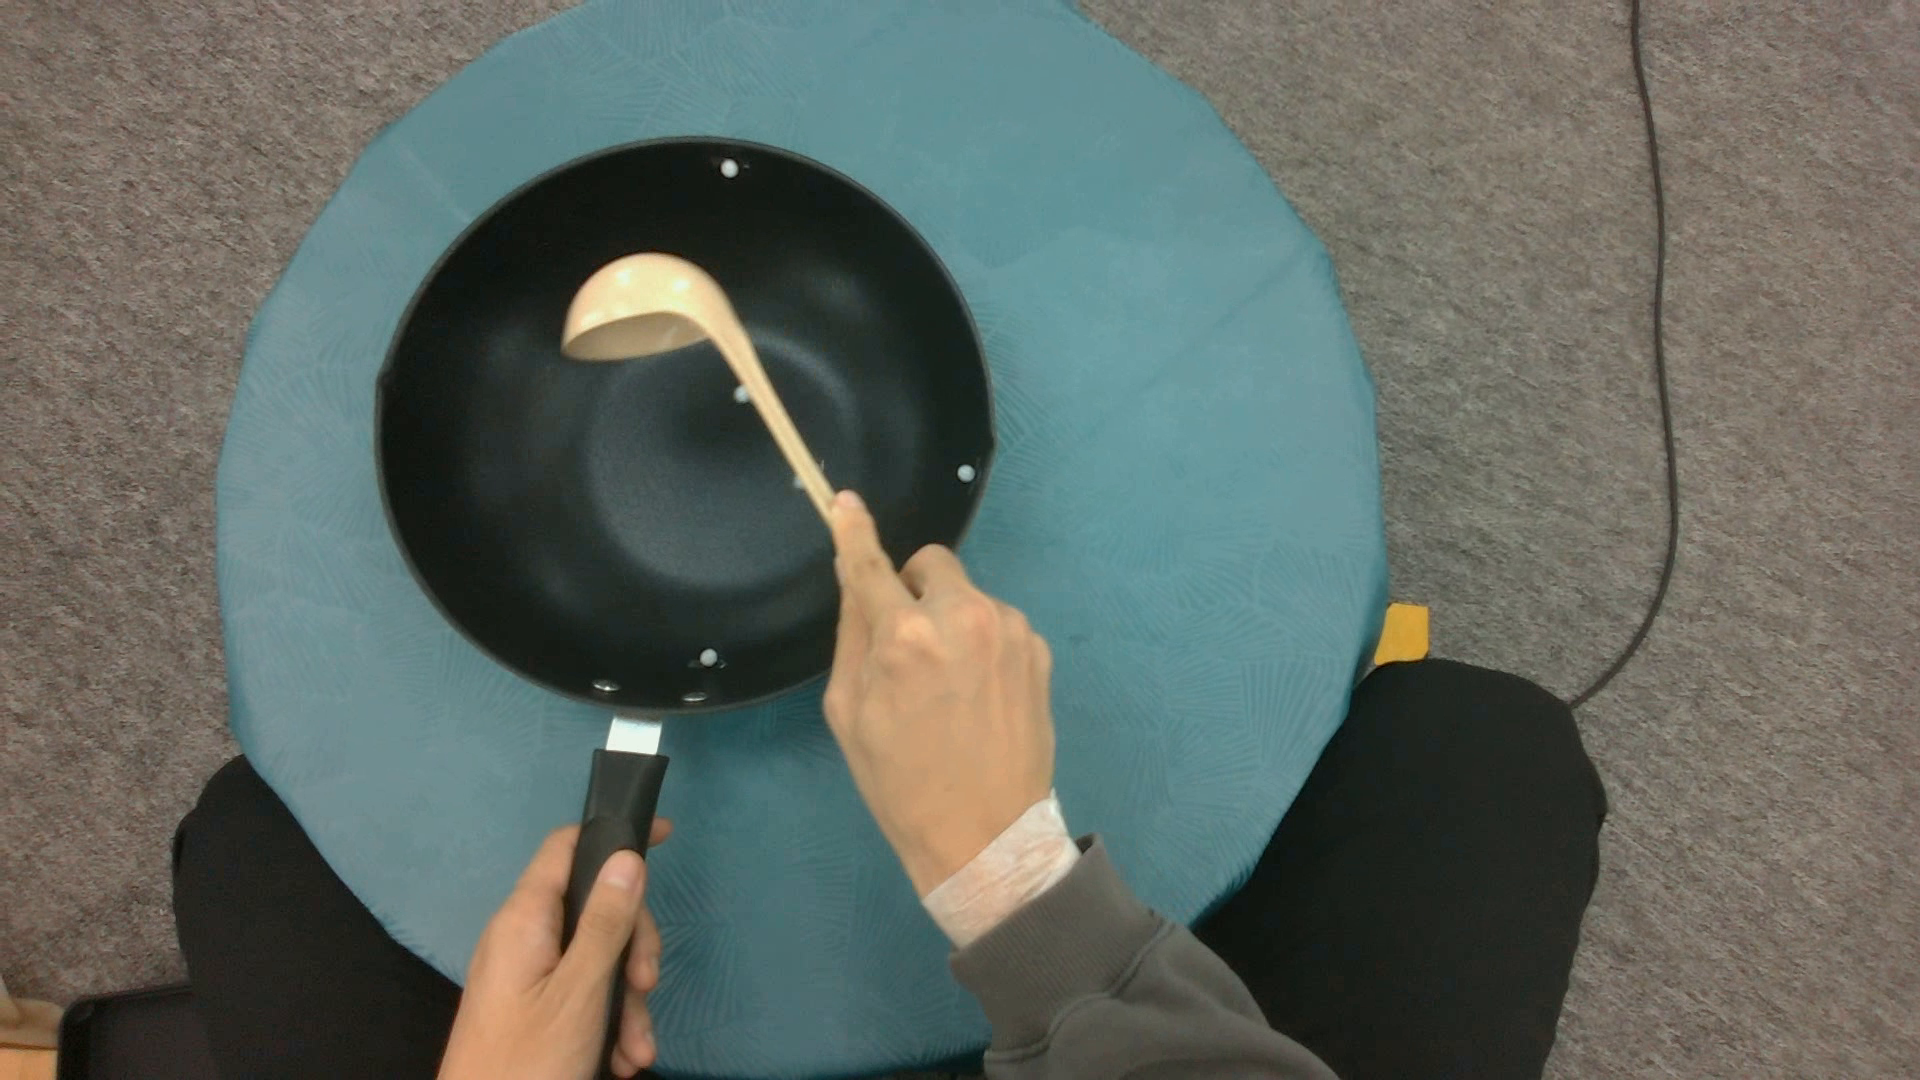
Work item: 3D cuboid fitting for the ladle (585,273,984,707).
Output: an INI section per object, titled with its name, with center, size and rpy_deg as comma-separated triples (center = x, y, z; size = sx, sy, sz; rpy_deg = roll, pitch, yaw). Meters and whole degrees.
[ladle]
center = -0.082, -0.012, 0.605
size = 0.072, 0.072, 0.255
rpy_deg = -43, 70, 26

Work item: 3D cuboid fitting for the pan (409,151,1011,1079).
[pan]
center = -0.130, 0.041, 0.665
size = 0.288, 0.086, 0.464
rpy_deg = 7, 77, 2
